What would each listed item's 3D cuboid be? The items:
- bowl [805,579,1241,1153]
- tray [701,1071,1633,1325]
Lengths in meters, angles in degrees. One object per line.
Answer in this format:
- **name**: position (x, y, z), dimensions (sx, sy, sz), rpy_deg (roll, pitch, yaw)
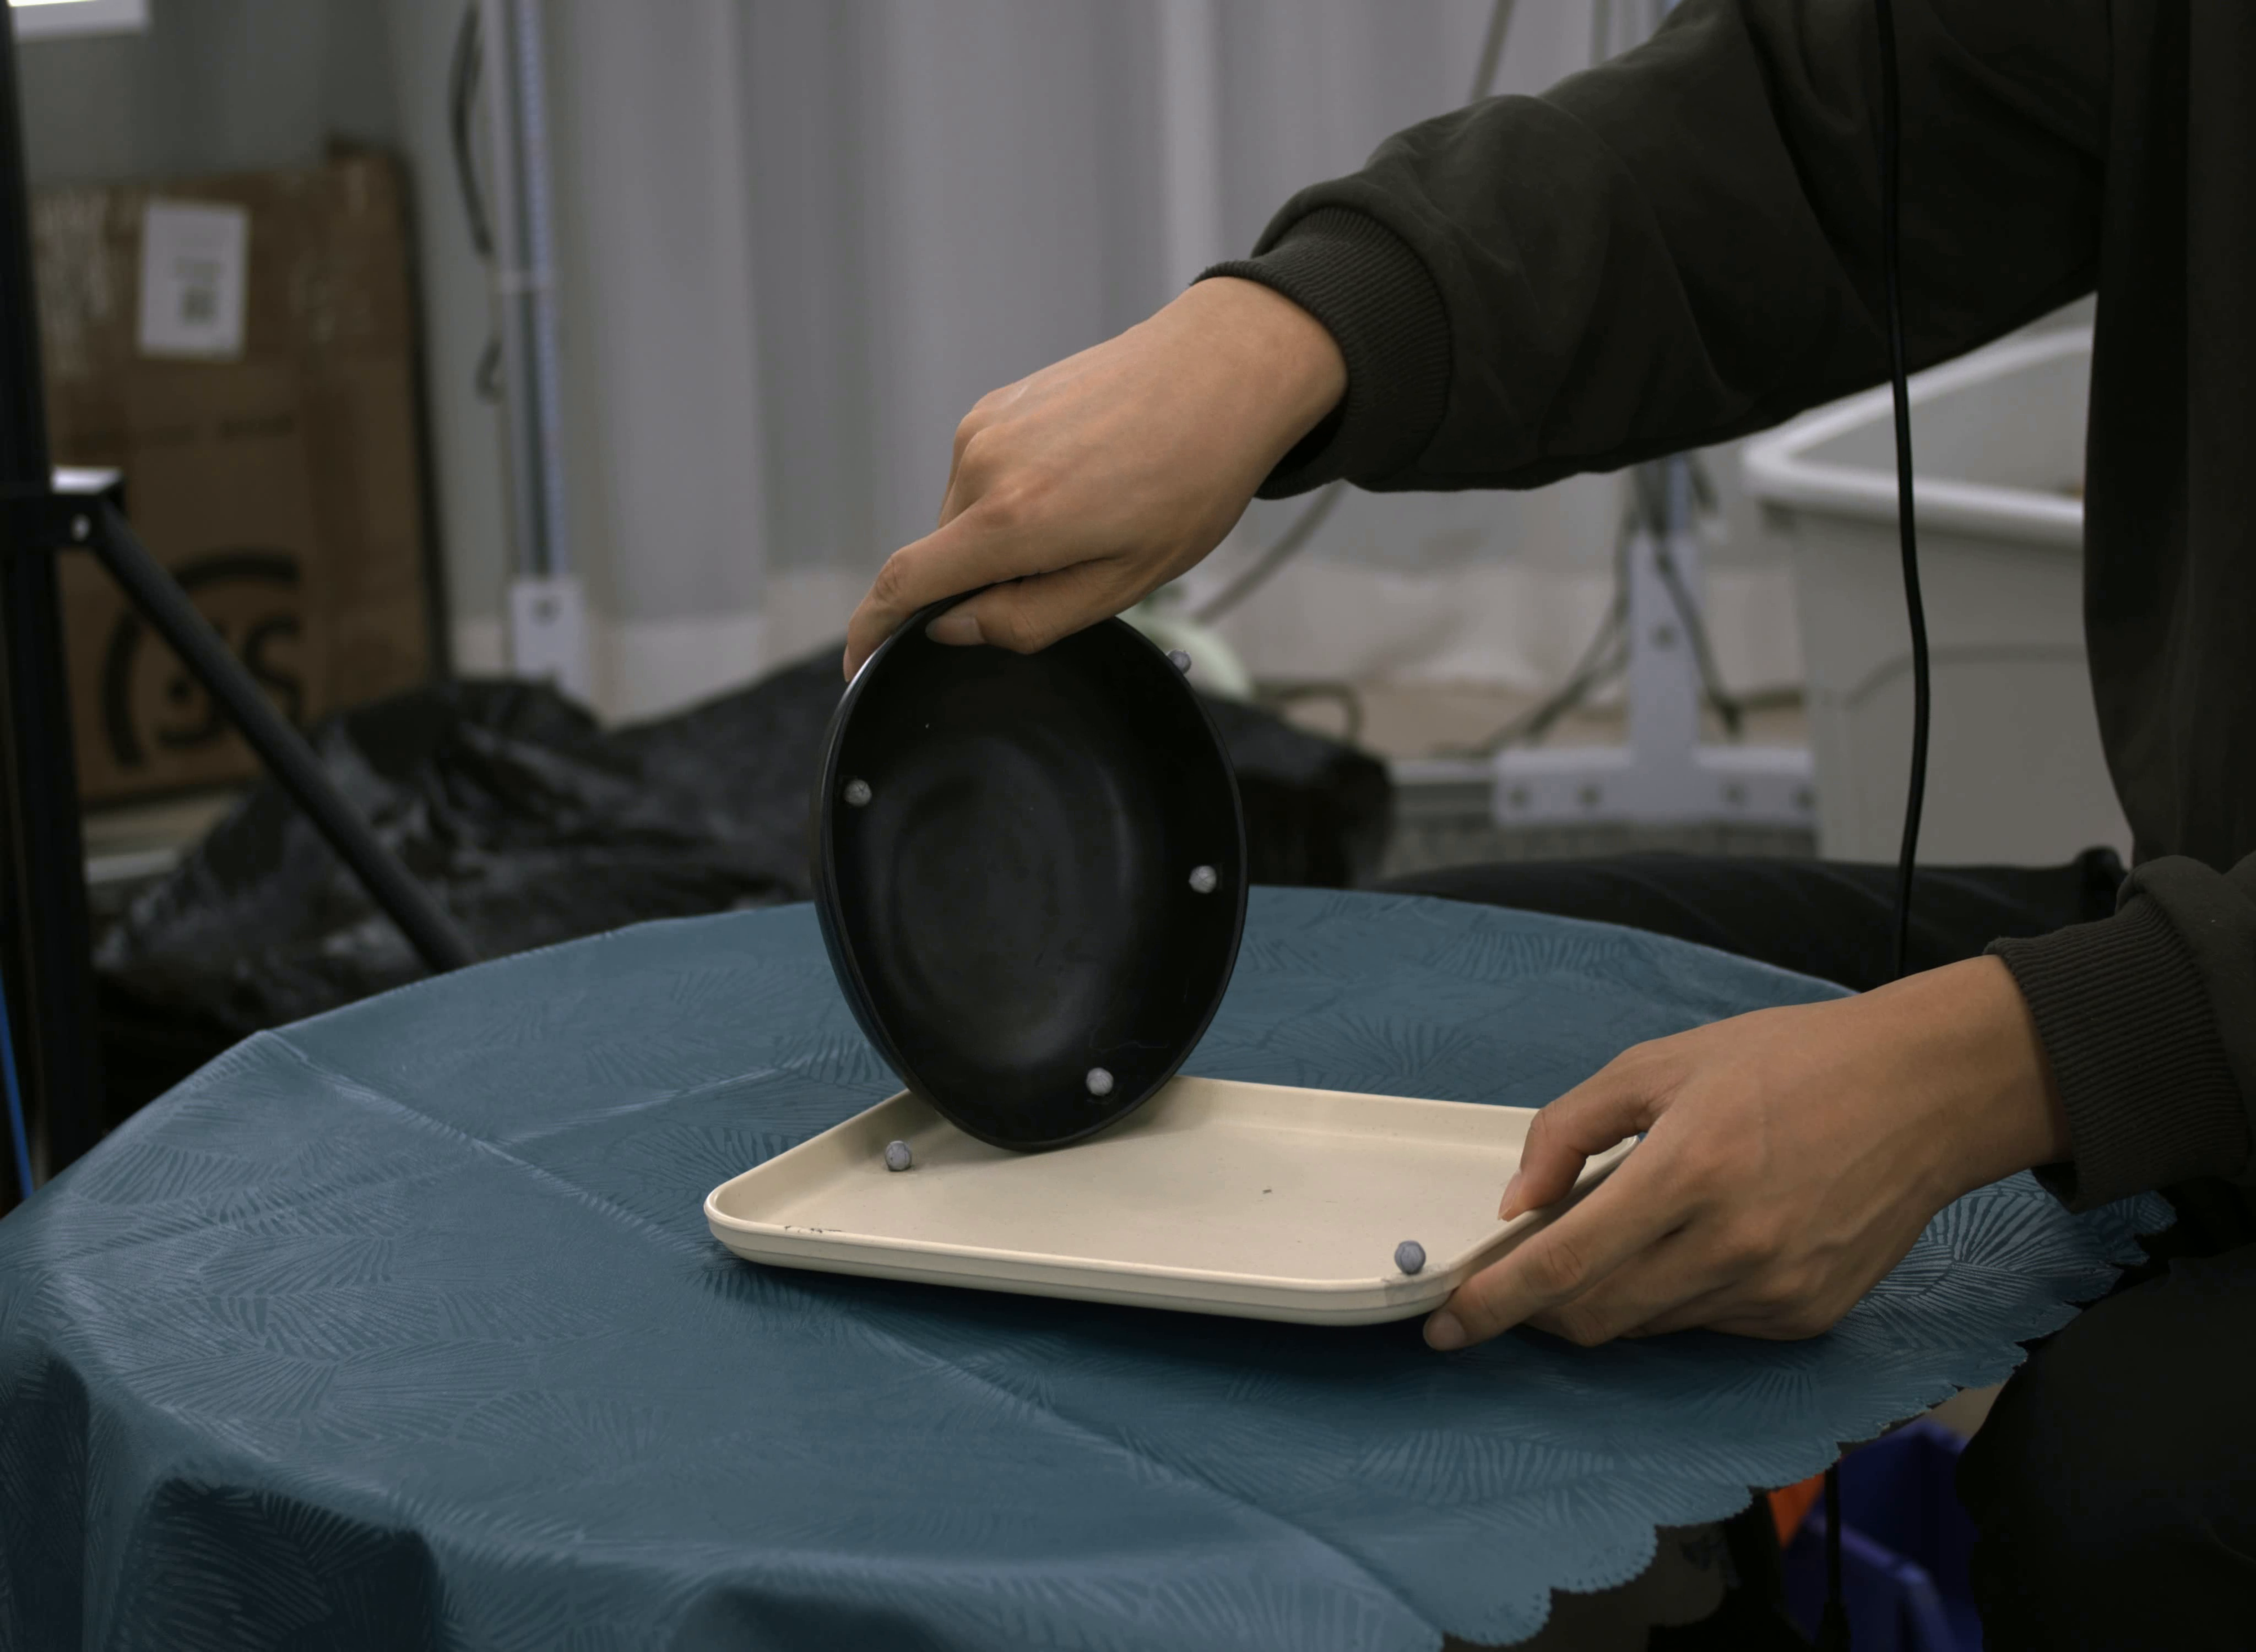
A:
- **bowl**: position (-0.039, 0.013, 1.607), dimensions (0.134, 0.171, 0.067), rpy_deg (-4, -4, -21)
- **tray**: position (0.012, 0.105, 1.514), dimensions (0.244, 0.017, 0.168), rpy_deg (3, 14, 31)
